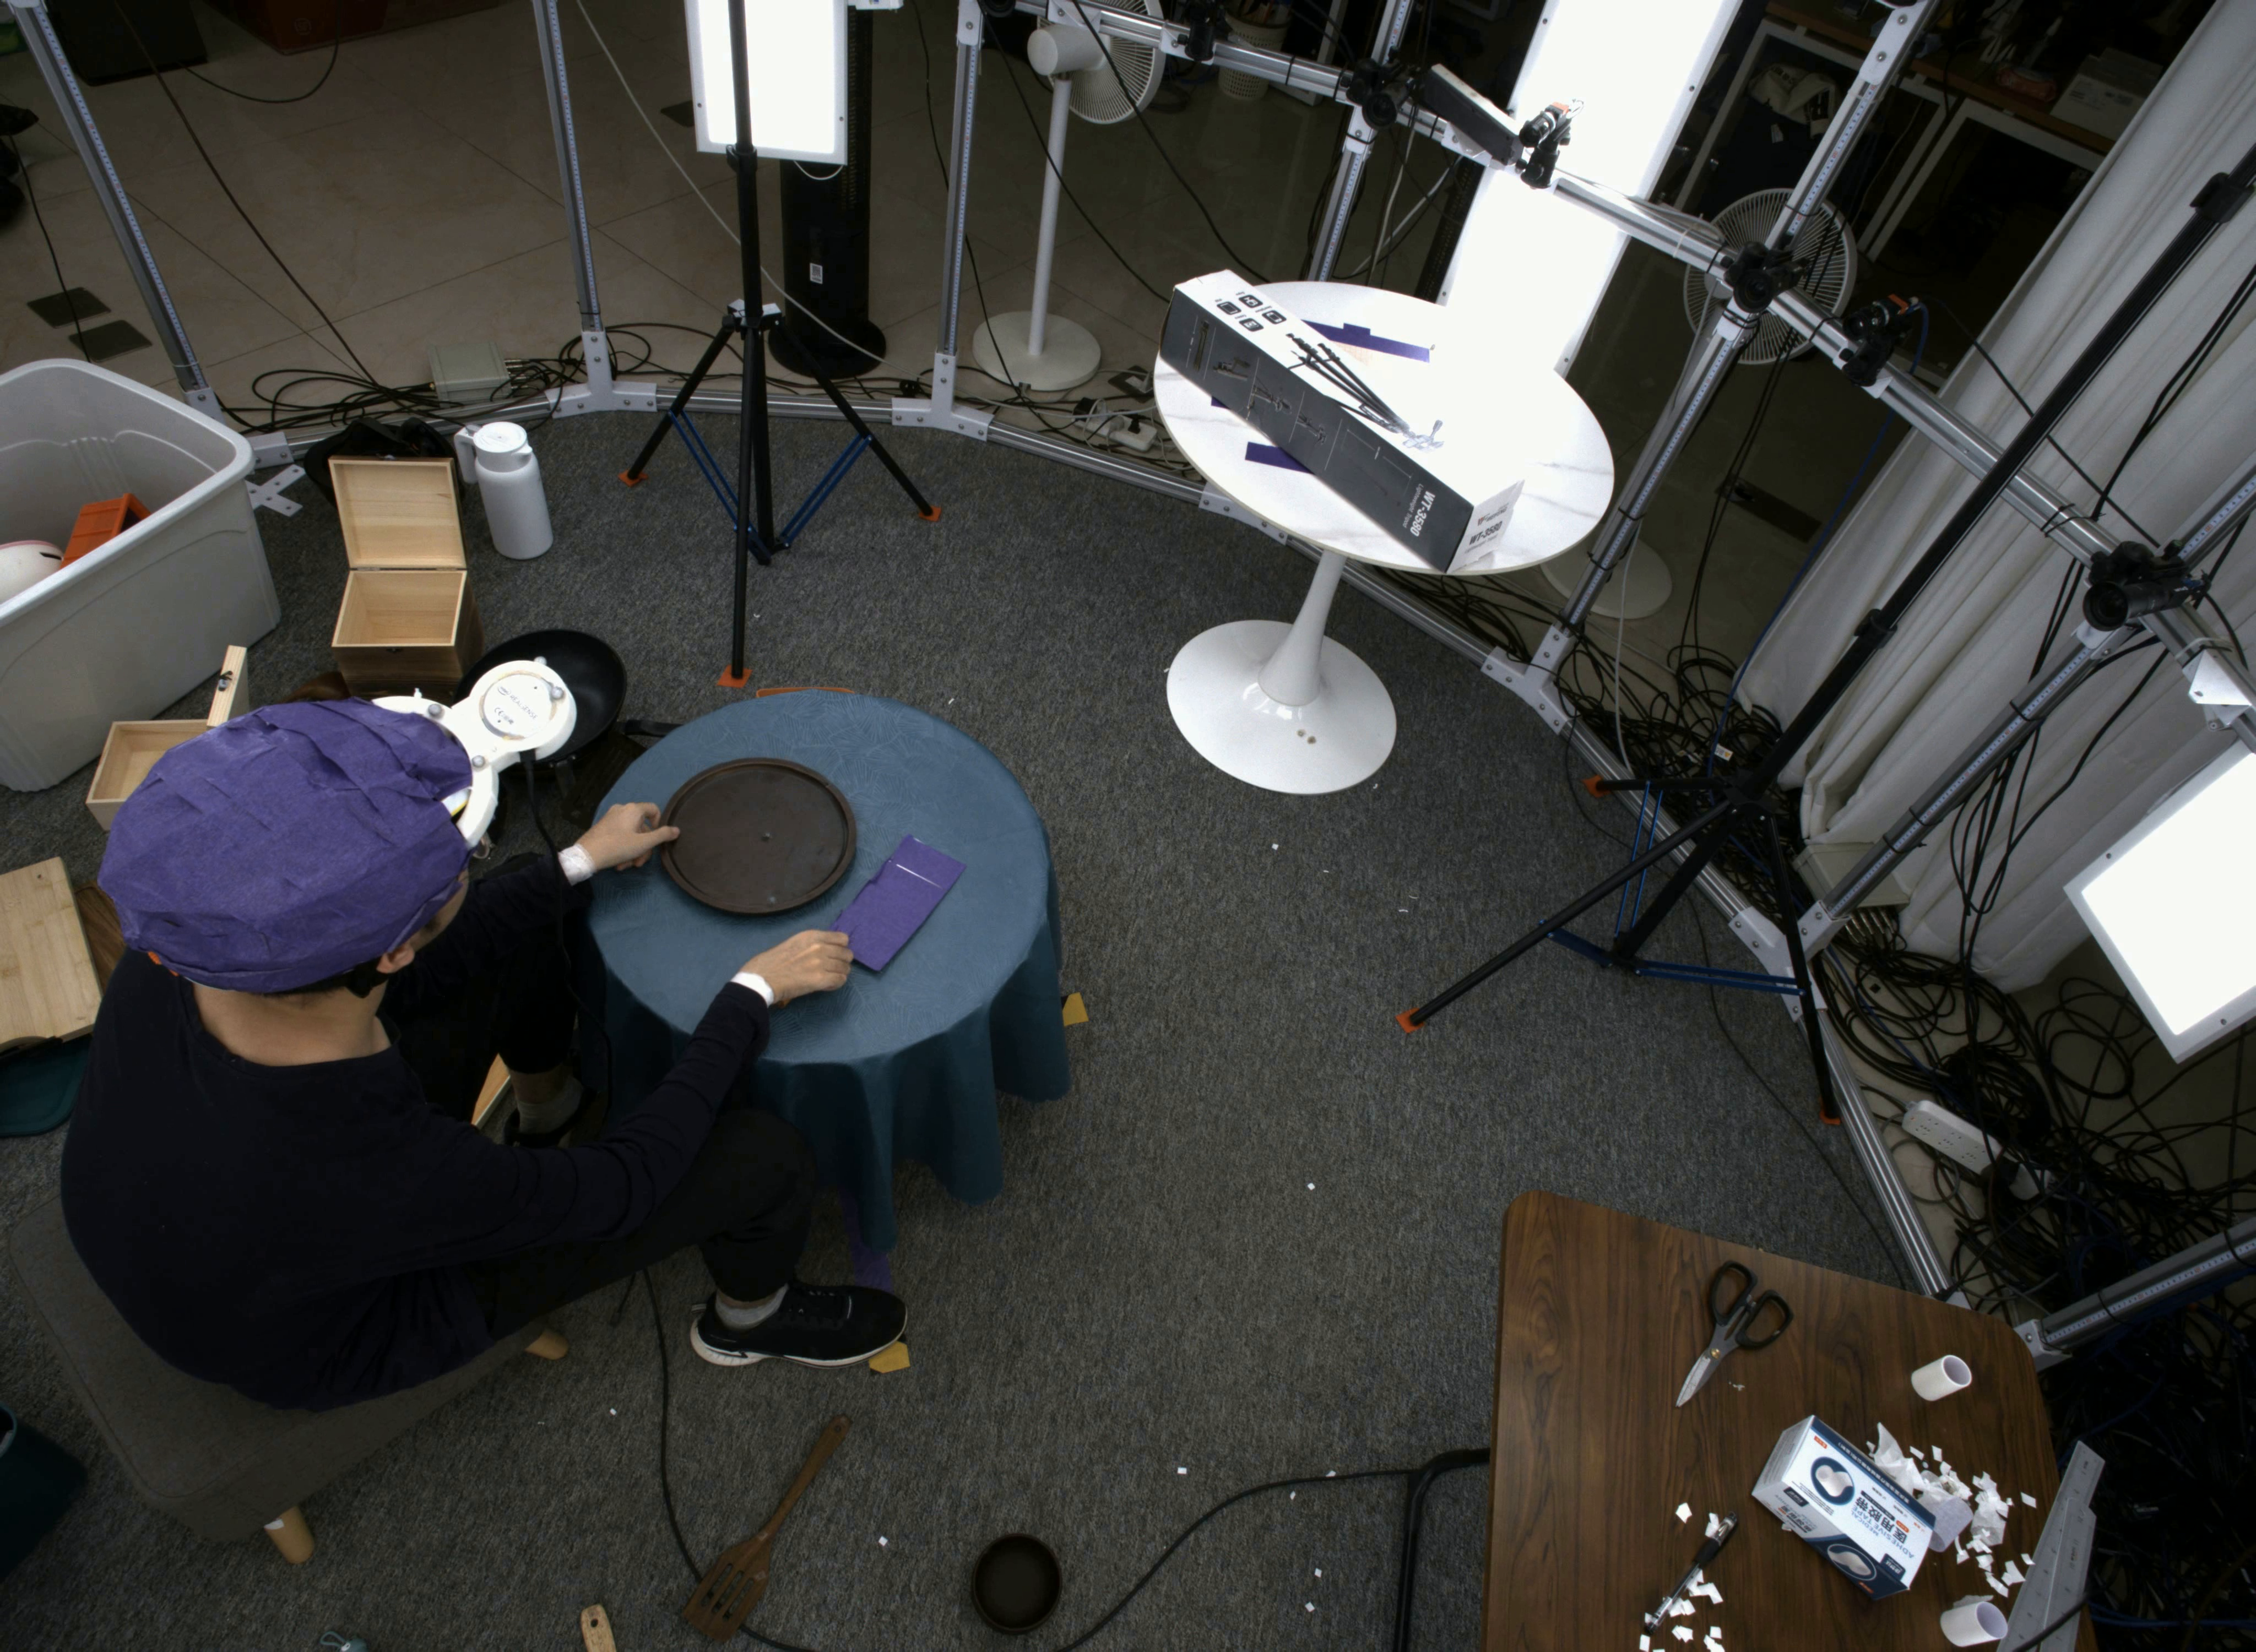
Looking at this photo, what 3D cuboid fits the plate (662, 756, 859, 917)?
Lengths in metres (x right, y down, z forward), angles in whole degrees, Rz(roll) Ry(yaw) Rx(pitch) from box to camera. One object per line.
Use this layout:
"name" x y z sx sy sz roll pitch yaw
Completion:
"plate" -0.480 0.011 1.694 0.254 0.029 0.250 9 52 -10

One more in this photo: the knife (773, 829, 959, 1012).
"knife" -0.323 0.124 1.652 0.102 0.033 0.313 28 52 7
